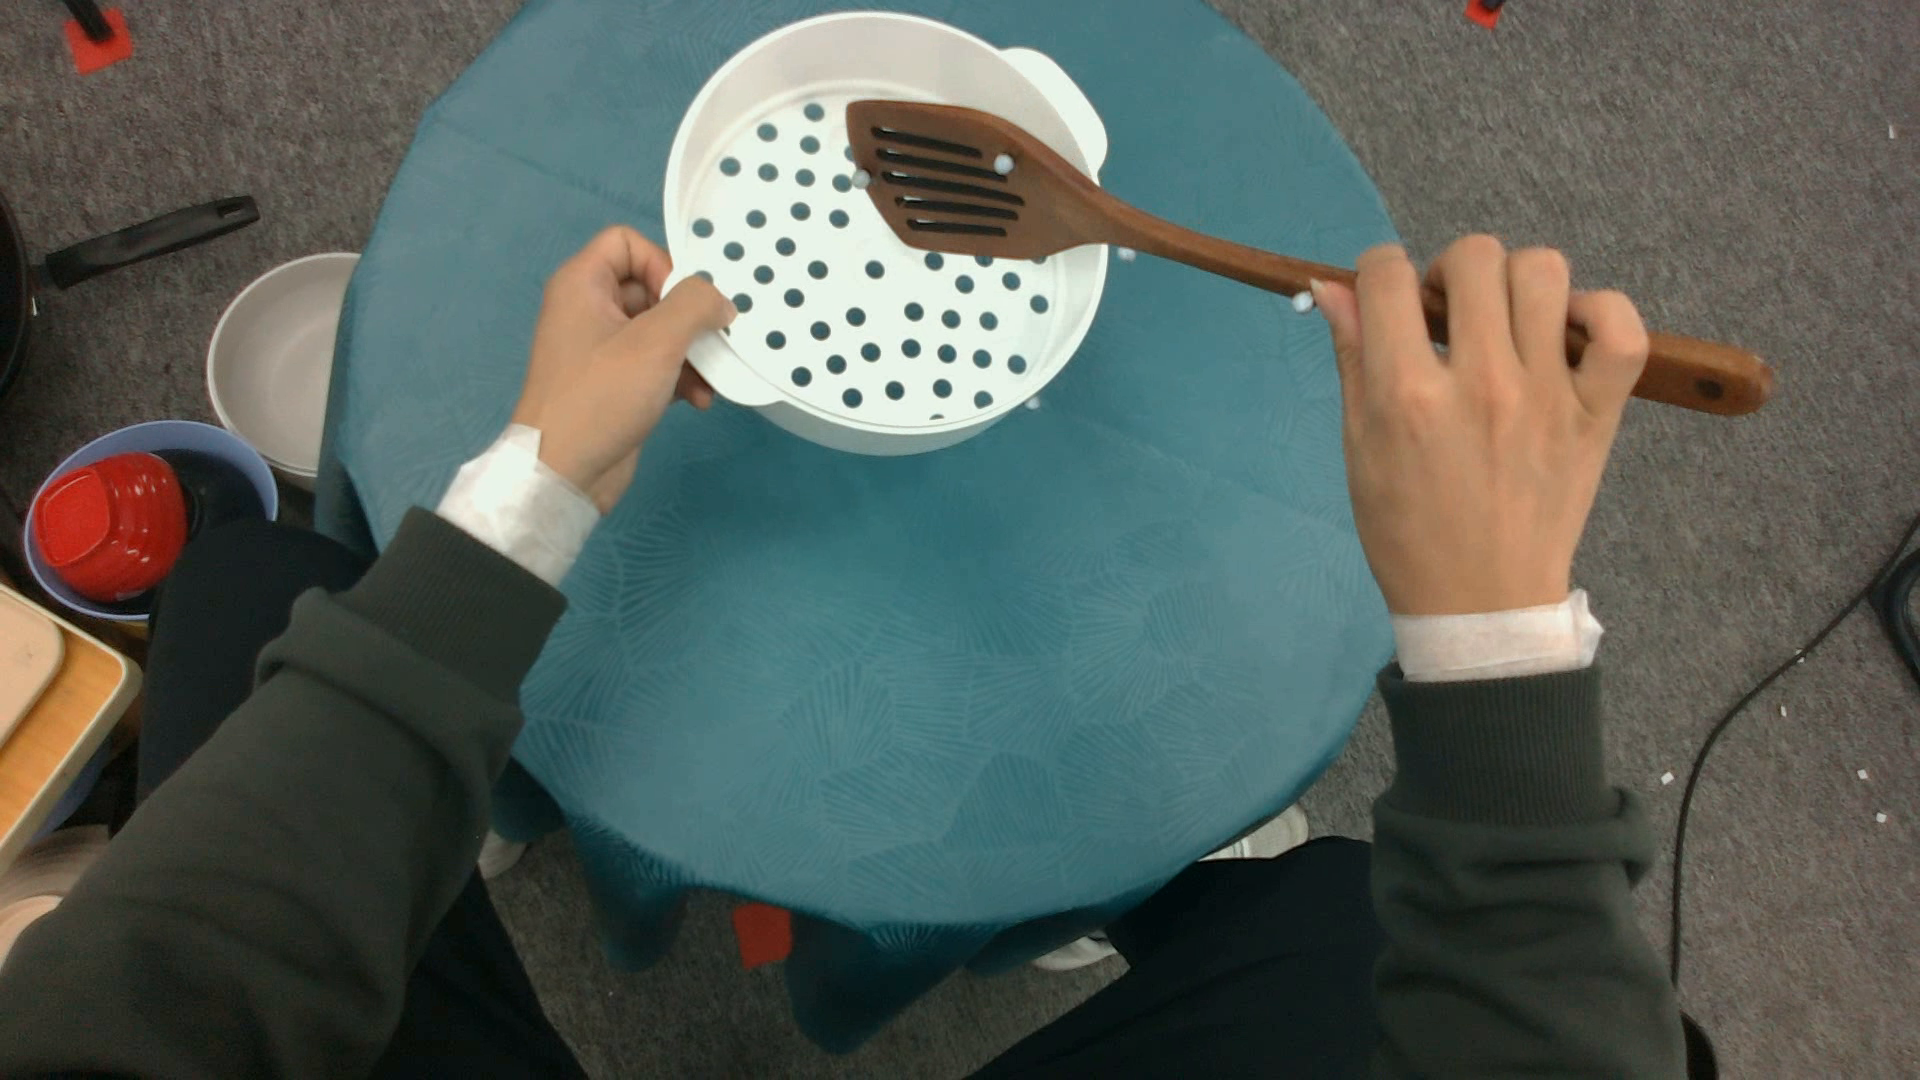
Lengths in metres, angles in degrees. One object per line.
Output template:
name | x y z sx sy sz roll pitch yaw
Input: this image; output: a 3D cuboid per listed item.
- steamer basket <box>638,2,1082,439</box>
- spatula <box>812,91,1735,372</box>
steamer basket | -0.046 -0.147 0.650 0.231 0.069 0.202 -41 88 -15
spatula | 0.095 -0.122 0.542 0.385 0.085 0.024 22 65 33
